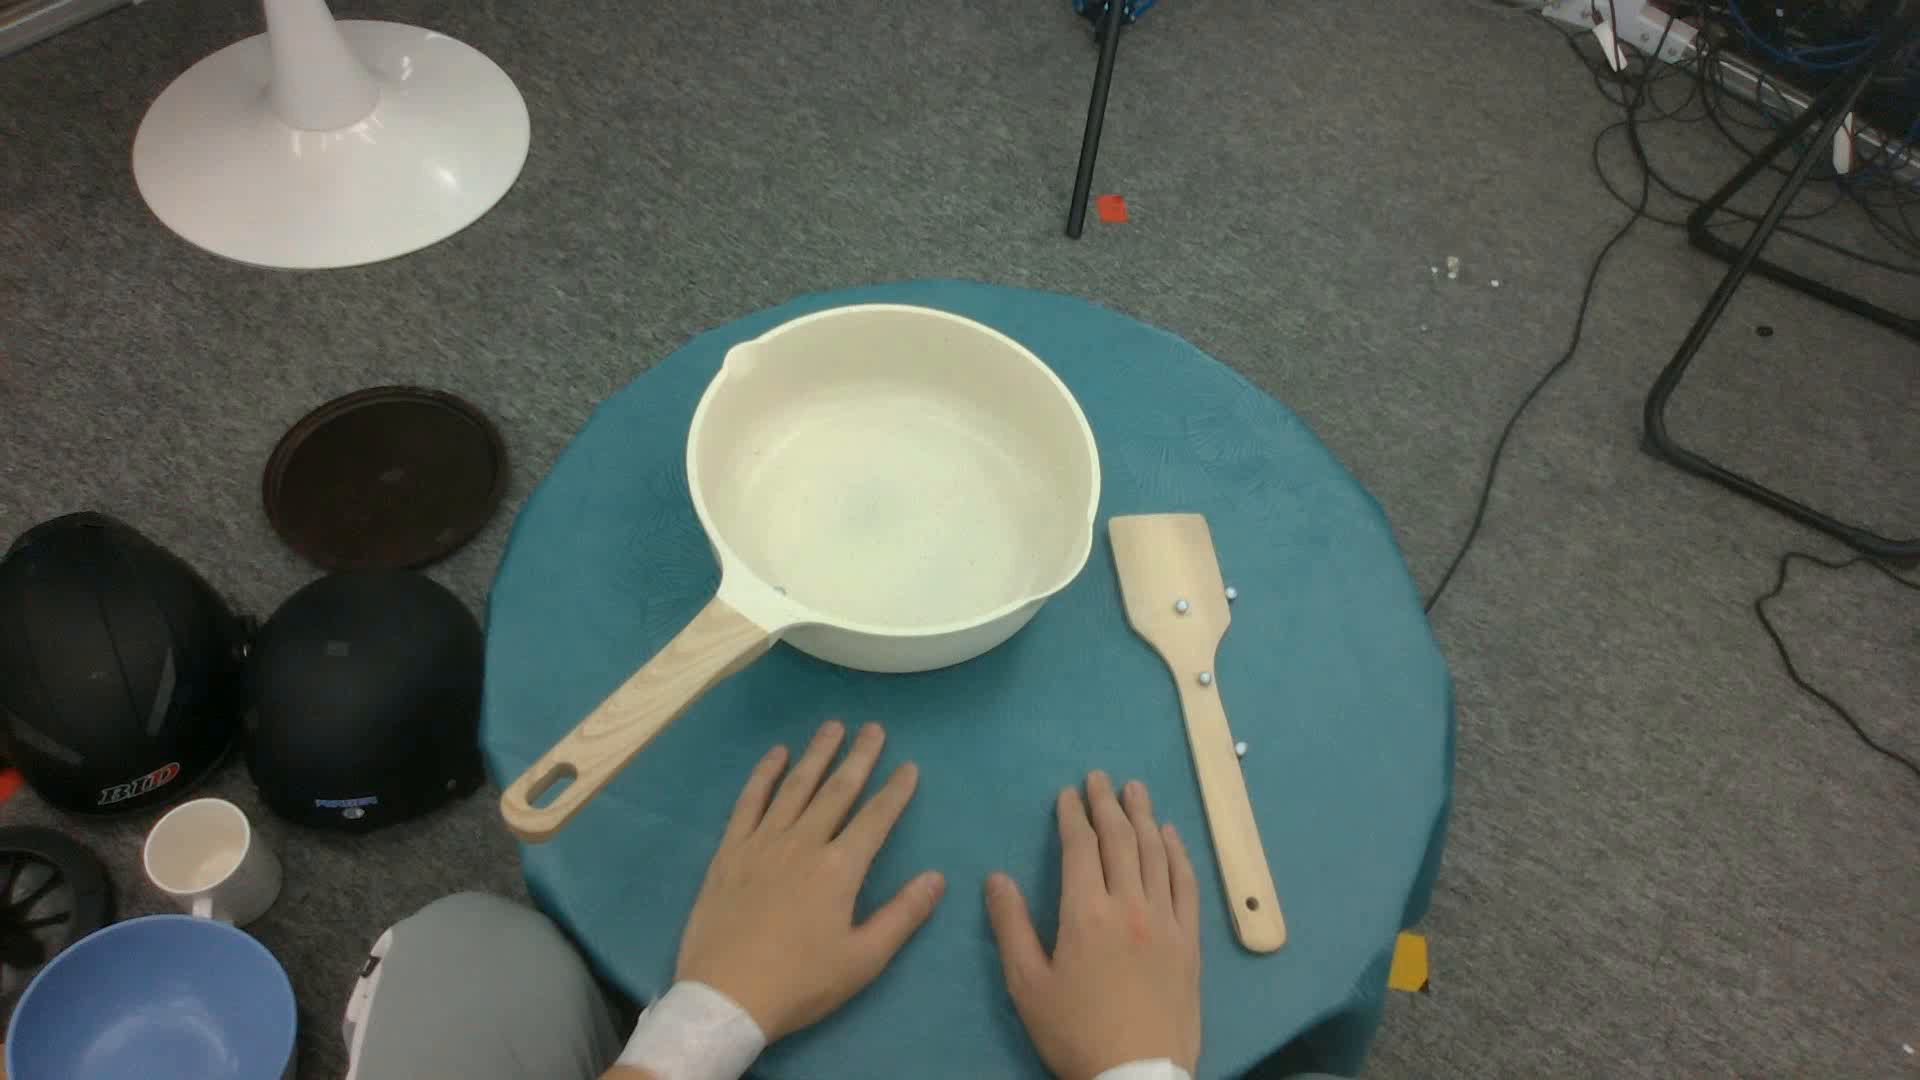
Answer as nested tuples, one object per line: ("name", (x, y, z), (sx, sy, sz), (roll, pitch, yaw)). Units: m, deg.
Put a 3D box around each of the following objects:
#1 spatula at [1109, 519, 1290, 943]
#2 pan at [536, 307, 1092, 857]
("spatula", (0.156, 0.108, 0.861), (0.072, 0.010, 0.294), (-3, 55, -10))
("pan", (-0.094, 0.028, 0.832), (0.263, 0.101, 0.437), (31, 58, 13))
